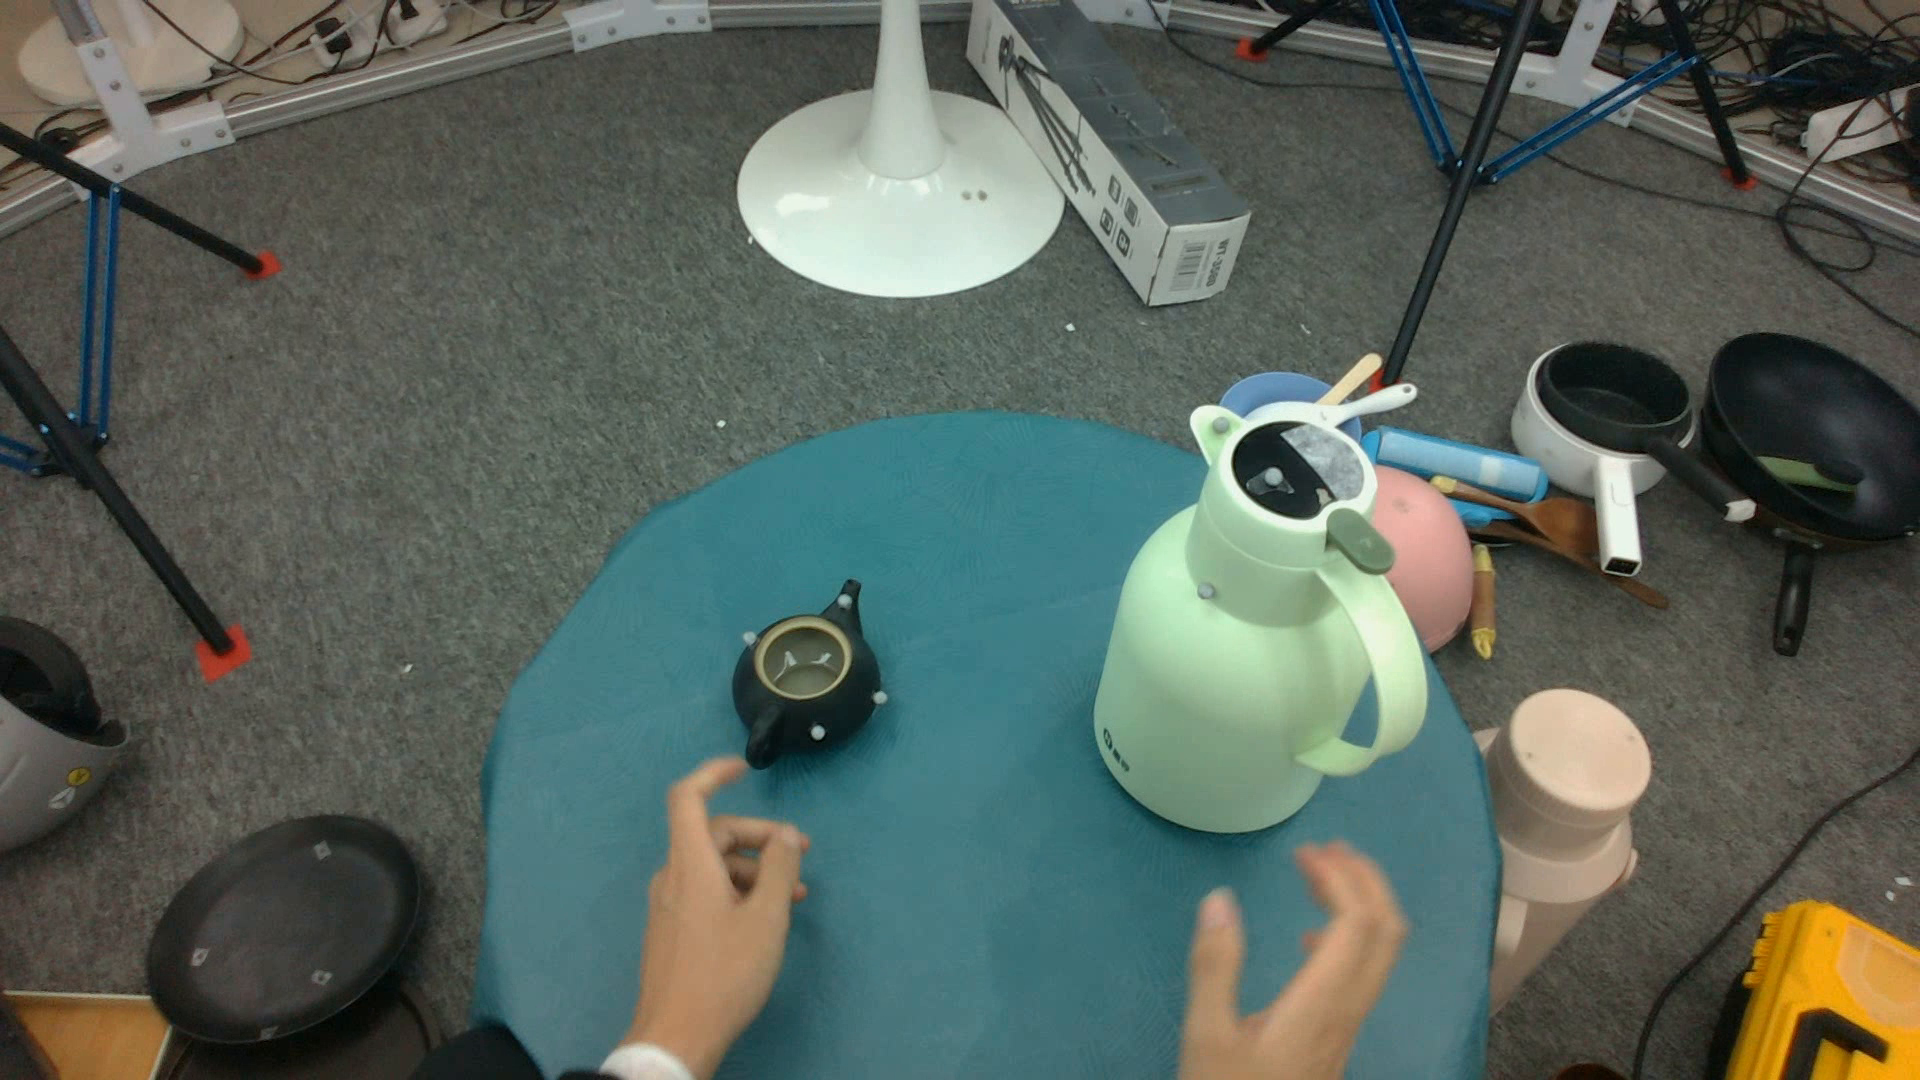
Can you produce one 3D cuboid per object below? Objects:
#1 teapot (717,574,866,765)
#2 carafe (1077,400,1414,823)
[{"bbox_3d":[-0.103,0.082,0.838,0.091,0.053,0.134,19,53,14],"label":"teapot"},{"bbox_3d":[0.158,0.050,0.754,0.144,0.255,0.187,-23,60,-22],"label":"carafe"}]
